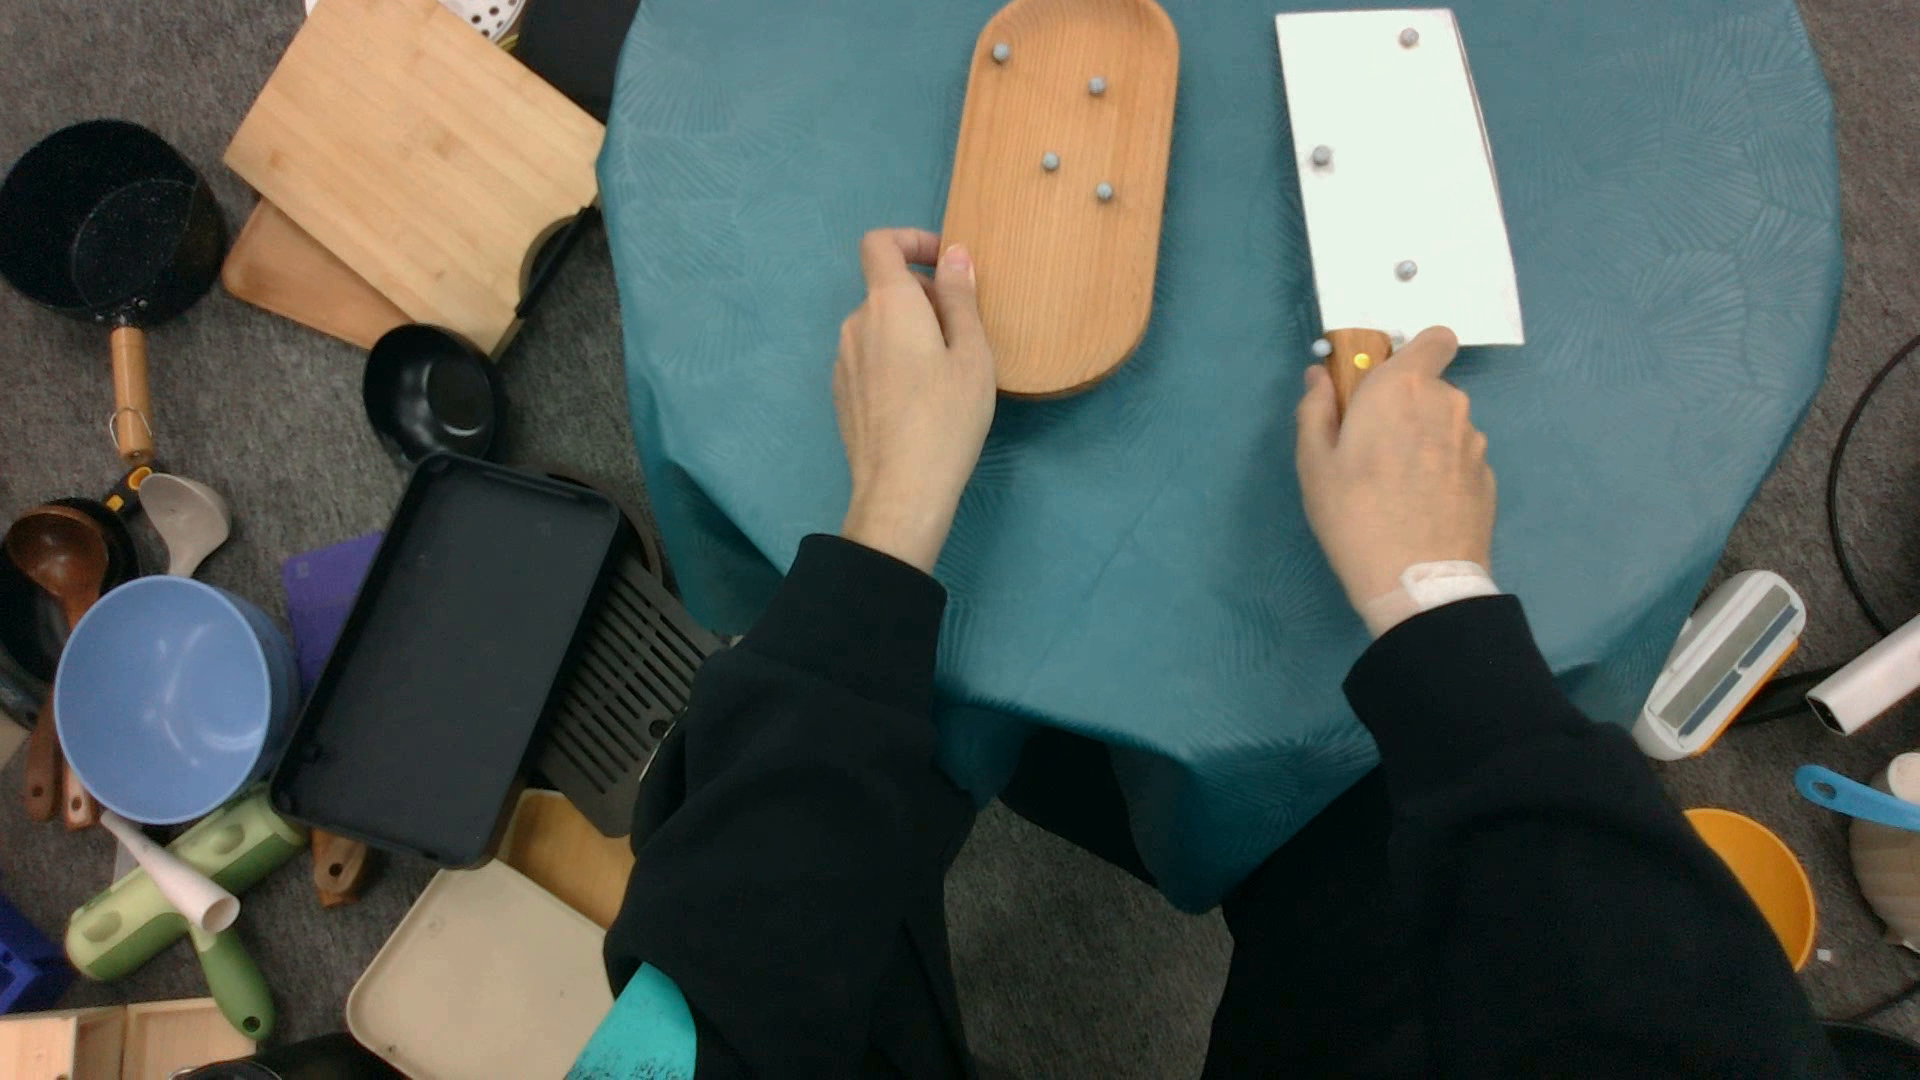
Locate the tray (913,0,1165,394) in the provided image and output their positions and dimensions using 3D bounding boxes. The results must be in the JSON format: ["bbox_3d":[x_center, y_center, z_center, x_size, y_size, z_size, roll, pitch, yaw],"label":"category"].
[{"bbox_3d":[0.039,-0.171,0.643,0.101,0.020,0.232,4,69,12],"label":"tray"}]

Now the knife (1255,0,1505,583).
[{"bbox_3d":[0.200,-0.128,0.635,0.093,0.021,0.306,-3,70,-3],"label":"knife"}]
